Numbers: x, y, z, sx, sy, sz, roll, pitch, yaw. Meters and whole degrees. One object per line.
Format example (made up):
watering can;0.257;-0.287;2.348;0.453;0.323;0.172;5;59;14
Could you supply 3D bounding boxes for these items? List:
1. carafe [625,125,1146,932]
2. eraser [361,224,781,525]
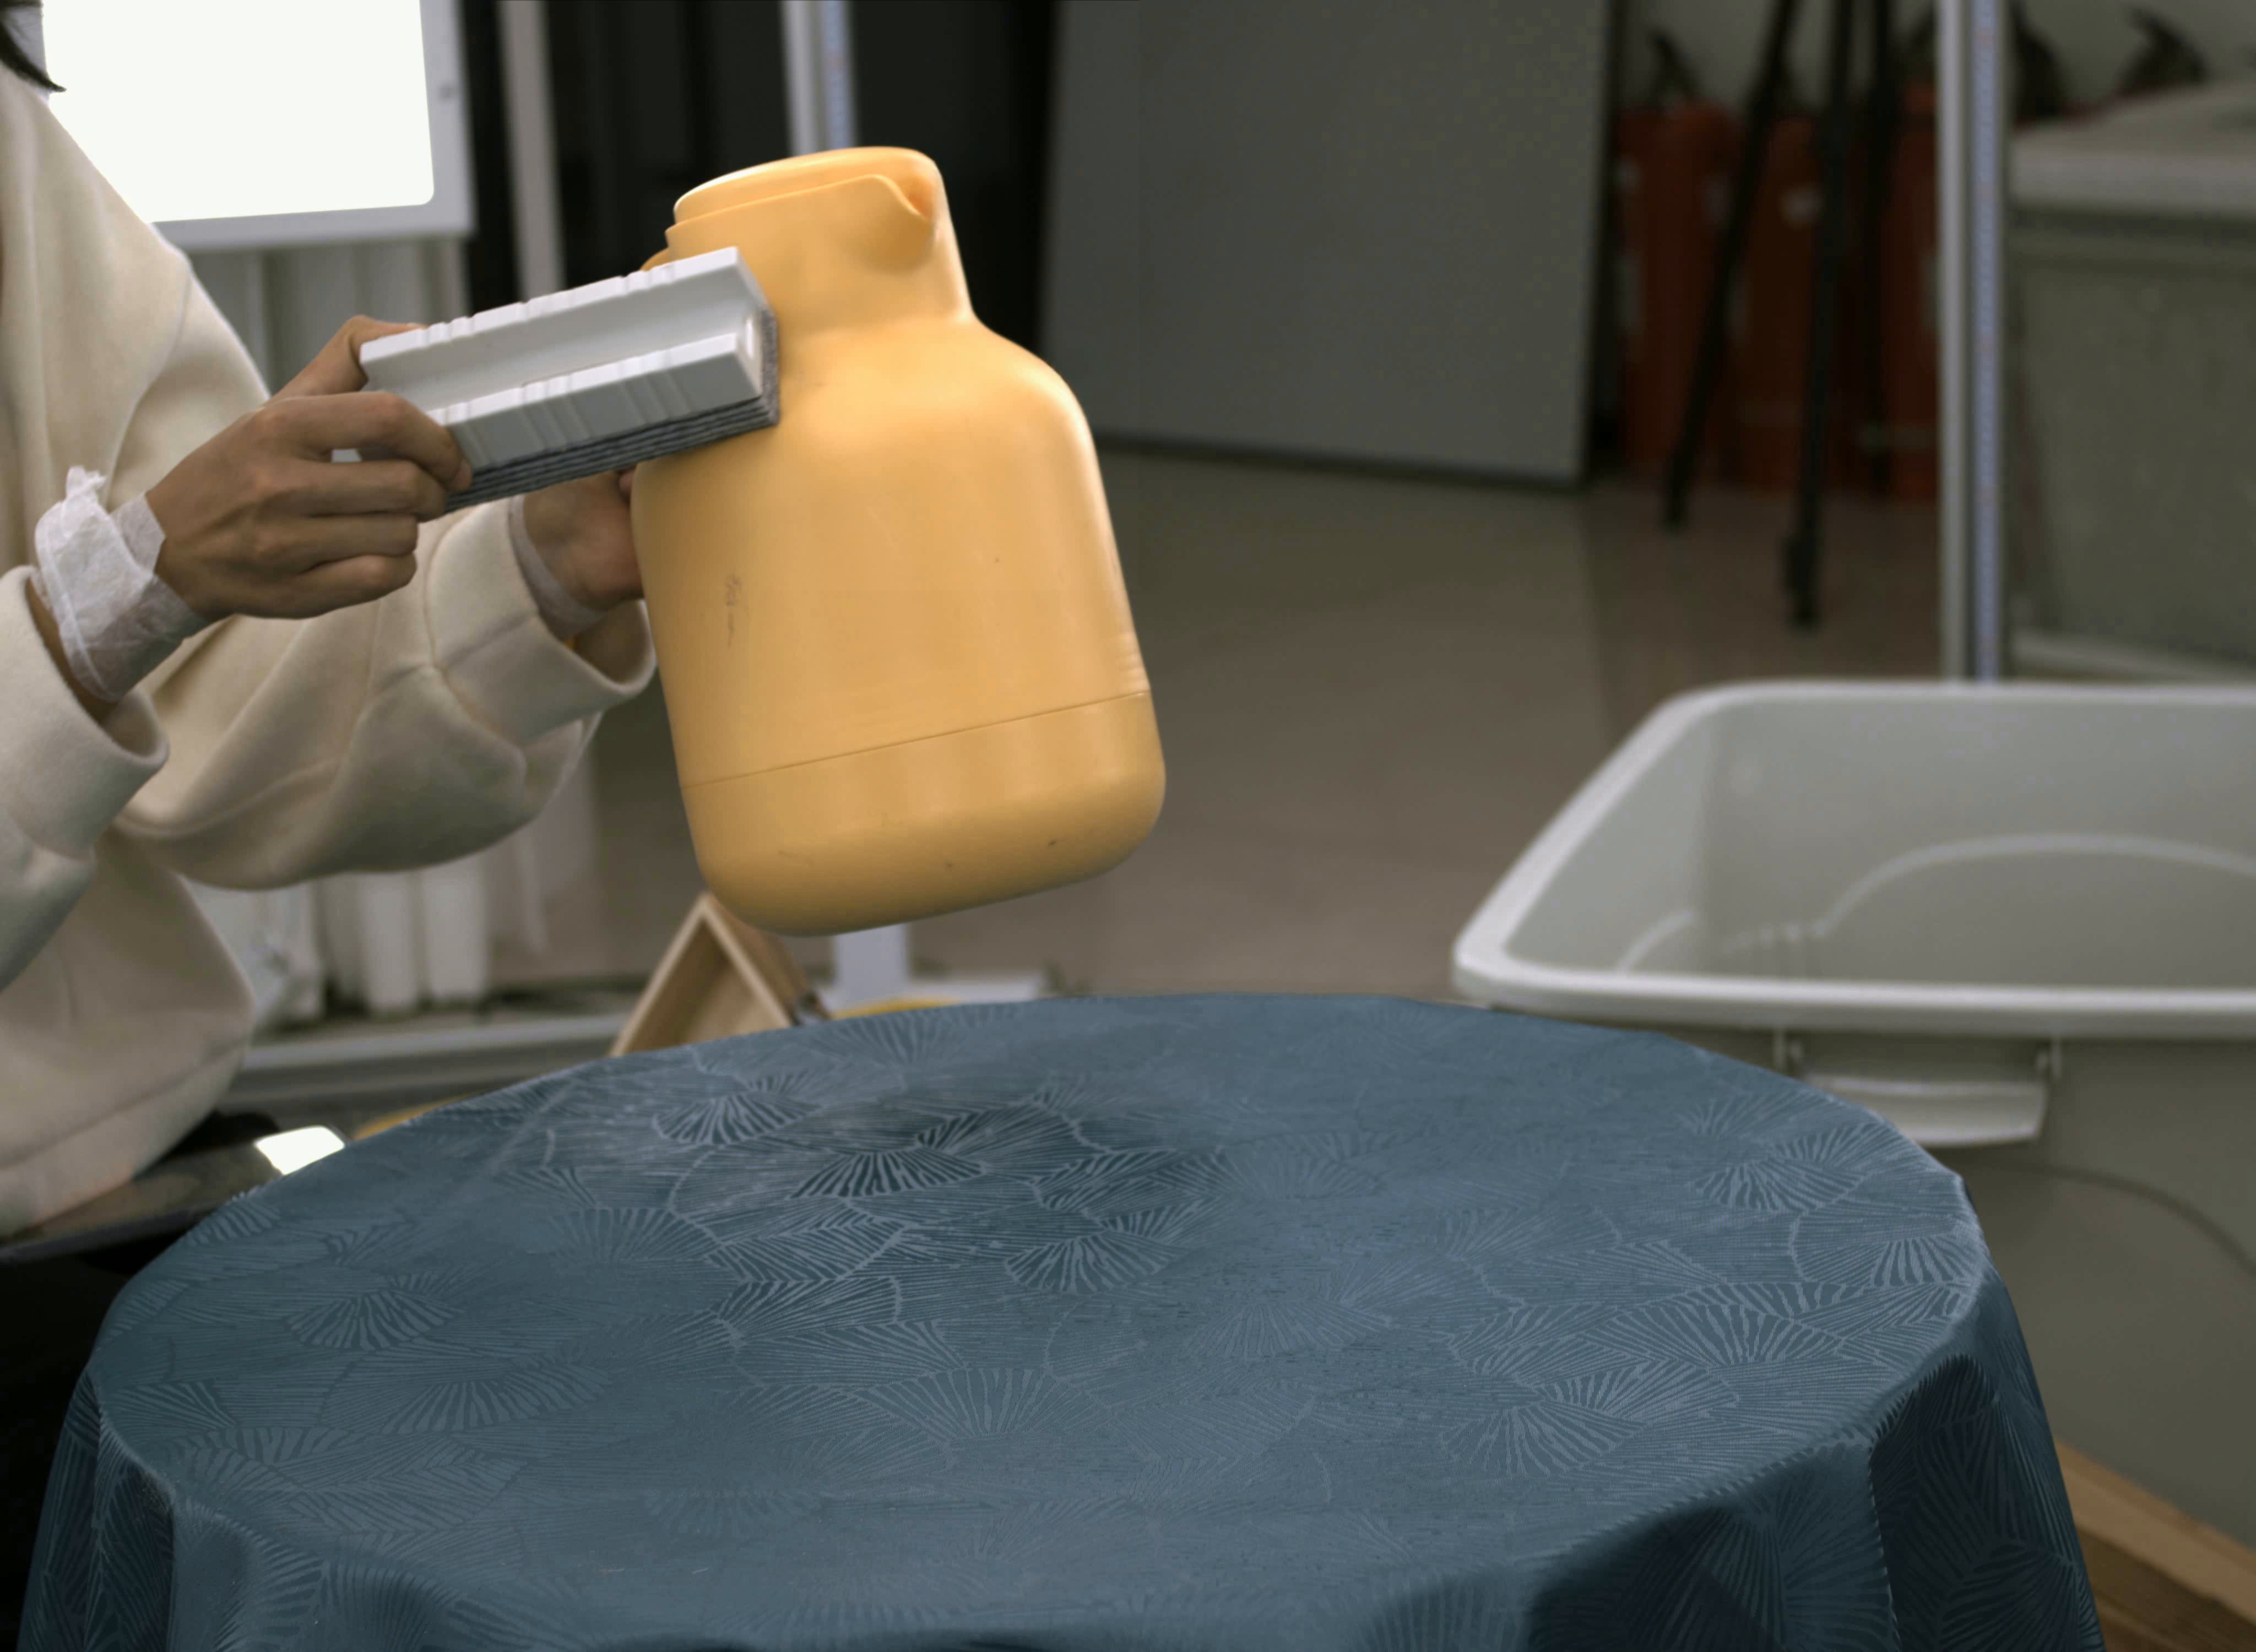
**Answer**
carafe;-0.098;-0.100;1.841;0.160;0.264;0.204;-8;-1;-34
eraser;-0.181;-0.146;1.768;0.133;0.046;0.050;-16;52;12
